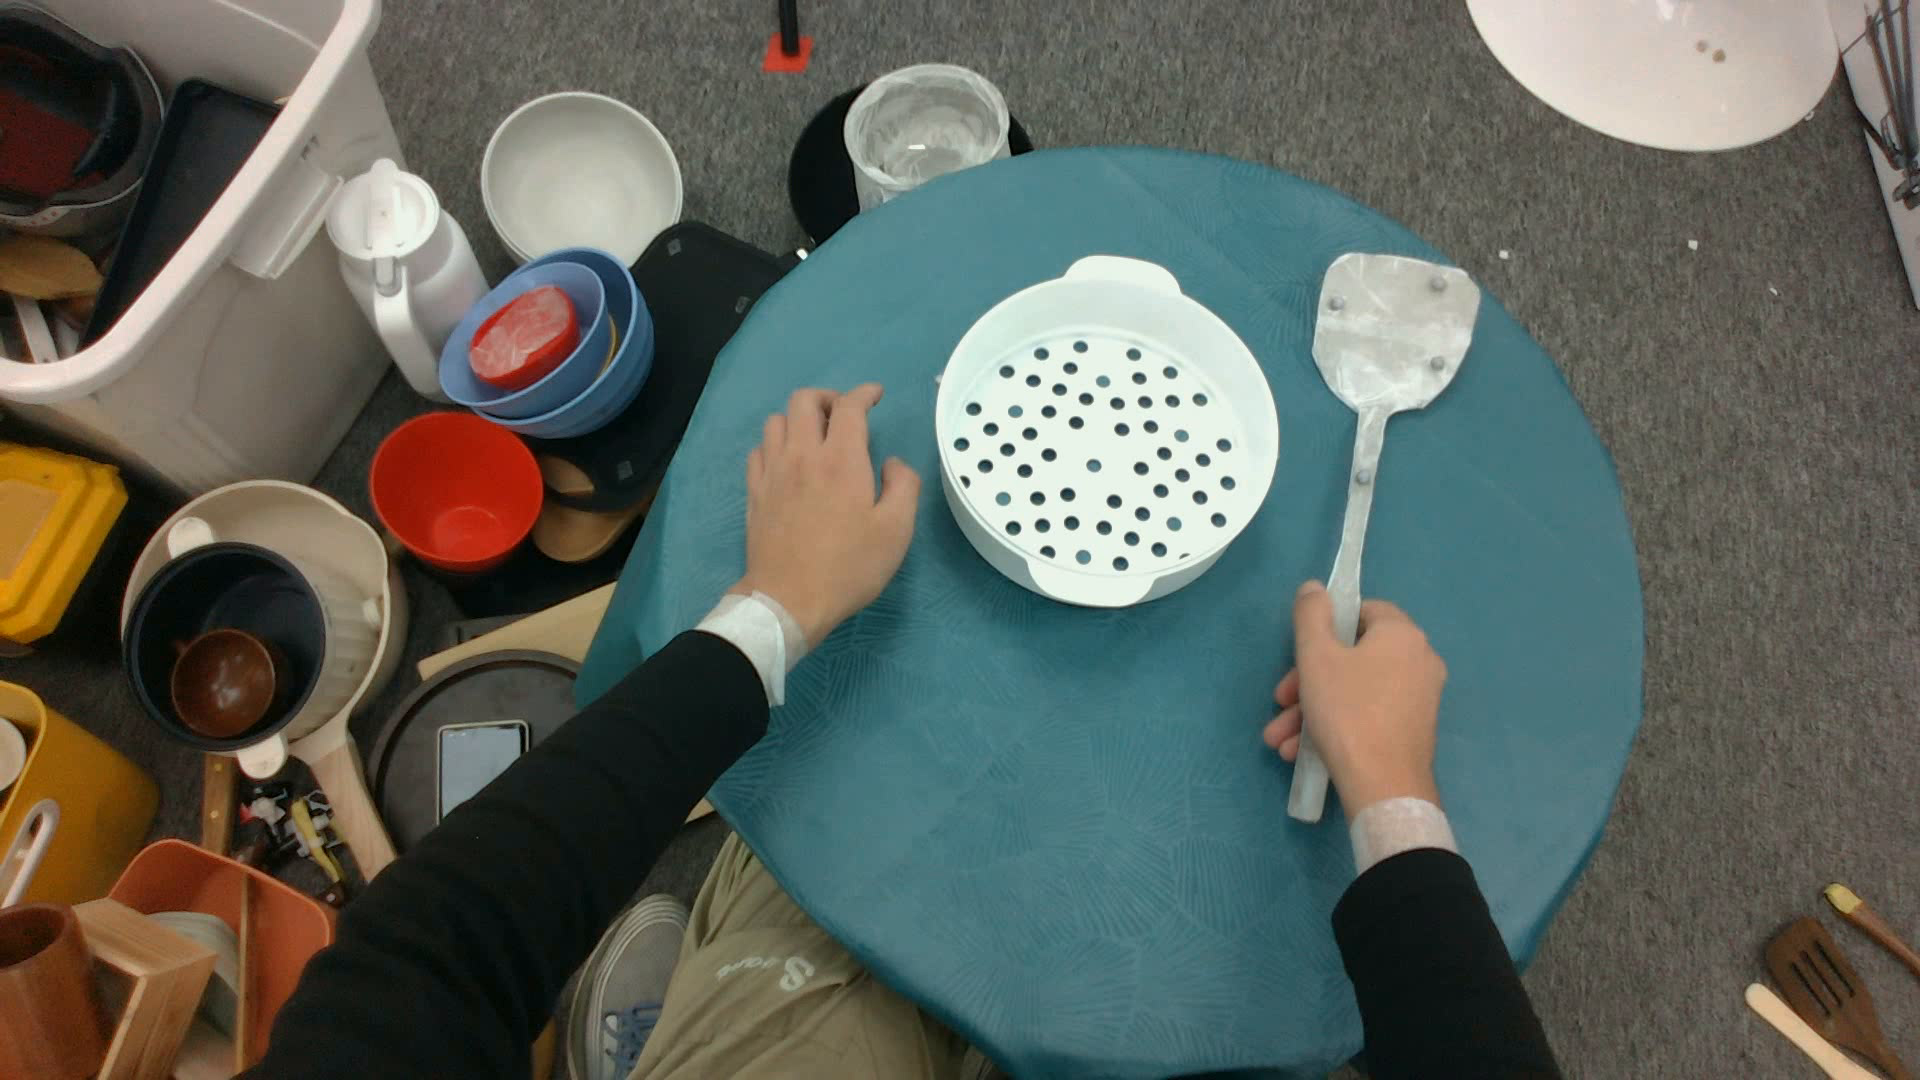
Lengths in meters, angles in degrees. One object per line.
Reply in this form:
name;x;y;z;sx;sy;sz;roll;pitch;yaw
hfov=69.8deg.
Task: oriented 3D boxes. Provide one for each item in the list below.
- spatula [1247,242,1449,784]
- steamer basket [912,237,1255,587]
spatula;0.223;-0.026;0.833;0.098;0.044;0.366;14;63;8
steamer basket;0.071;-0.070;0.829;0.202;0.069;0.231;9;67;0
